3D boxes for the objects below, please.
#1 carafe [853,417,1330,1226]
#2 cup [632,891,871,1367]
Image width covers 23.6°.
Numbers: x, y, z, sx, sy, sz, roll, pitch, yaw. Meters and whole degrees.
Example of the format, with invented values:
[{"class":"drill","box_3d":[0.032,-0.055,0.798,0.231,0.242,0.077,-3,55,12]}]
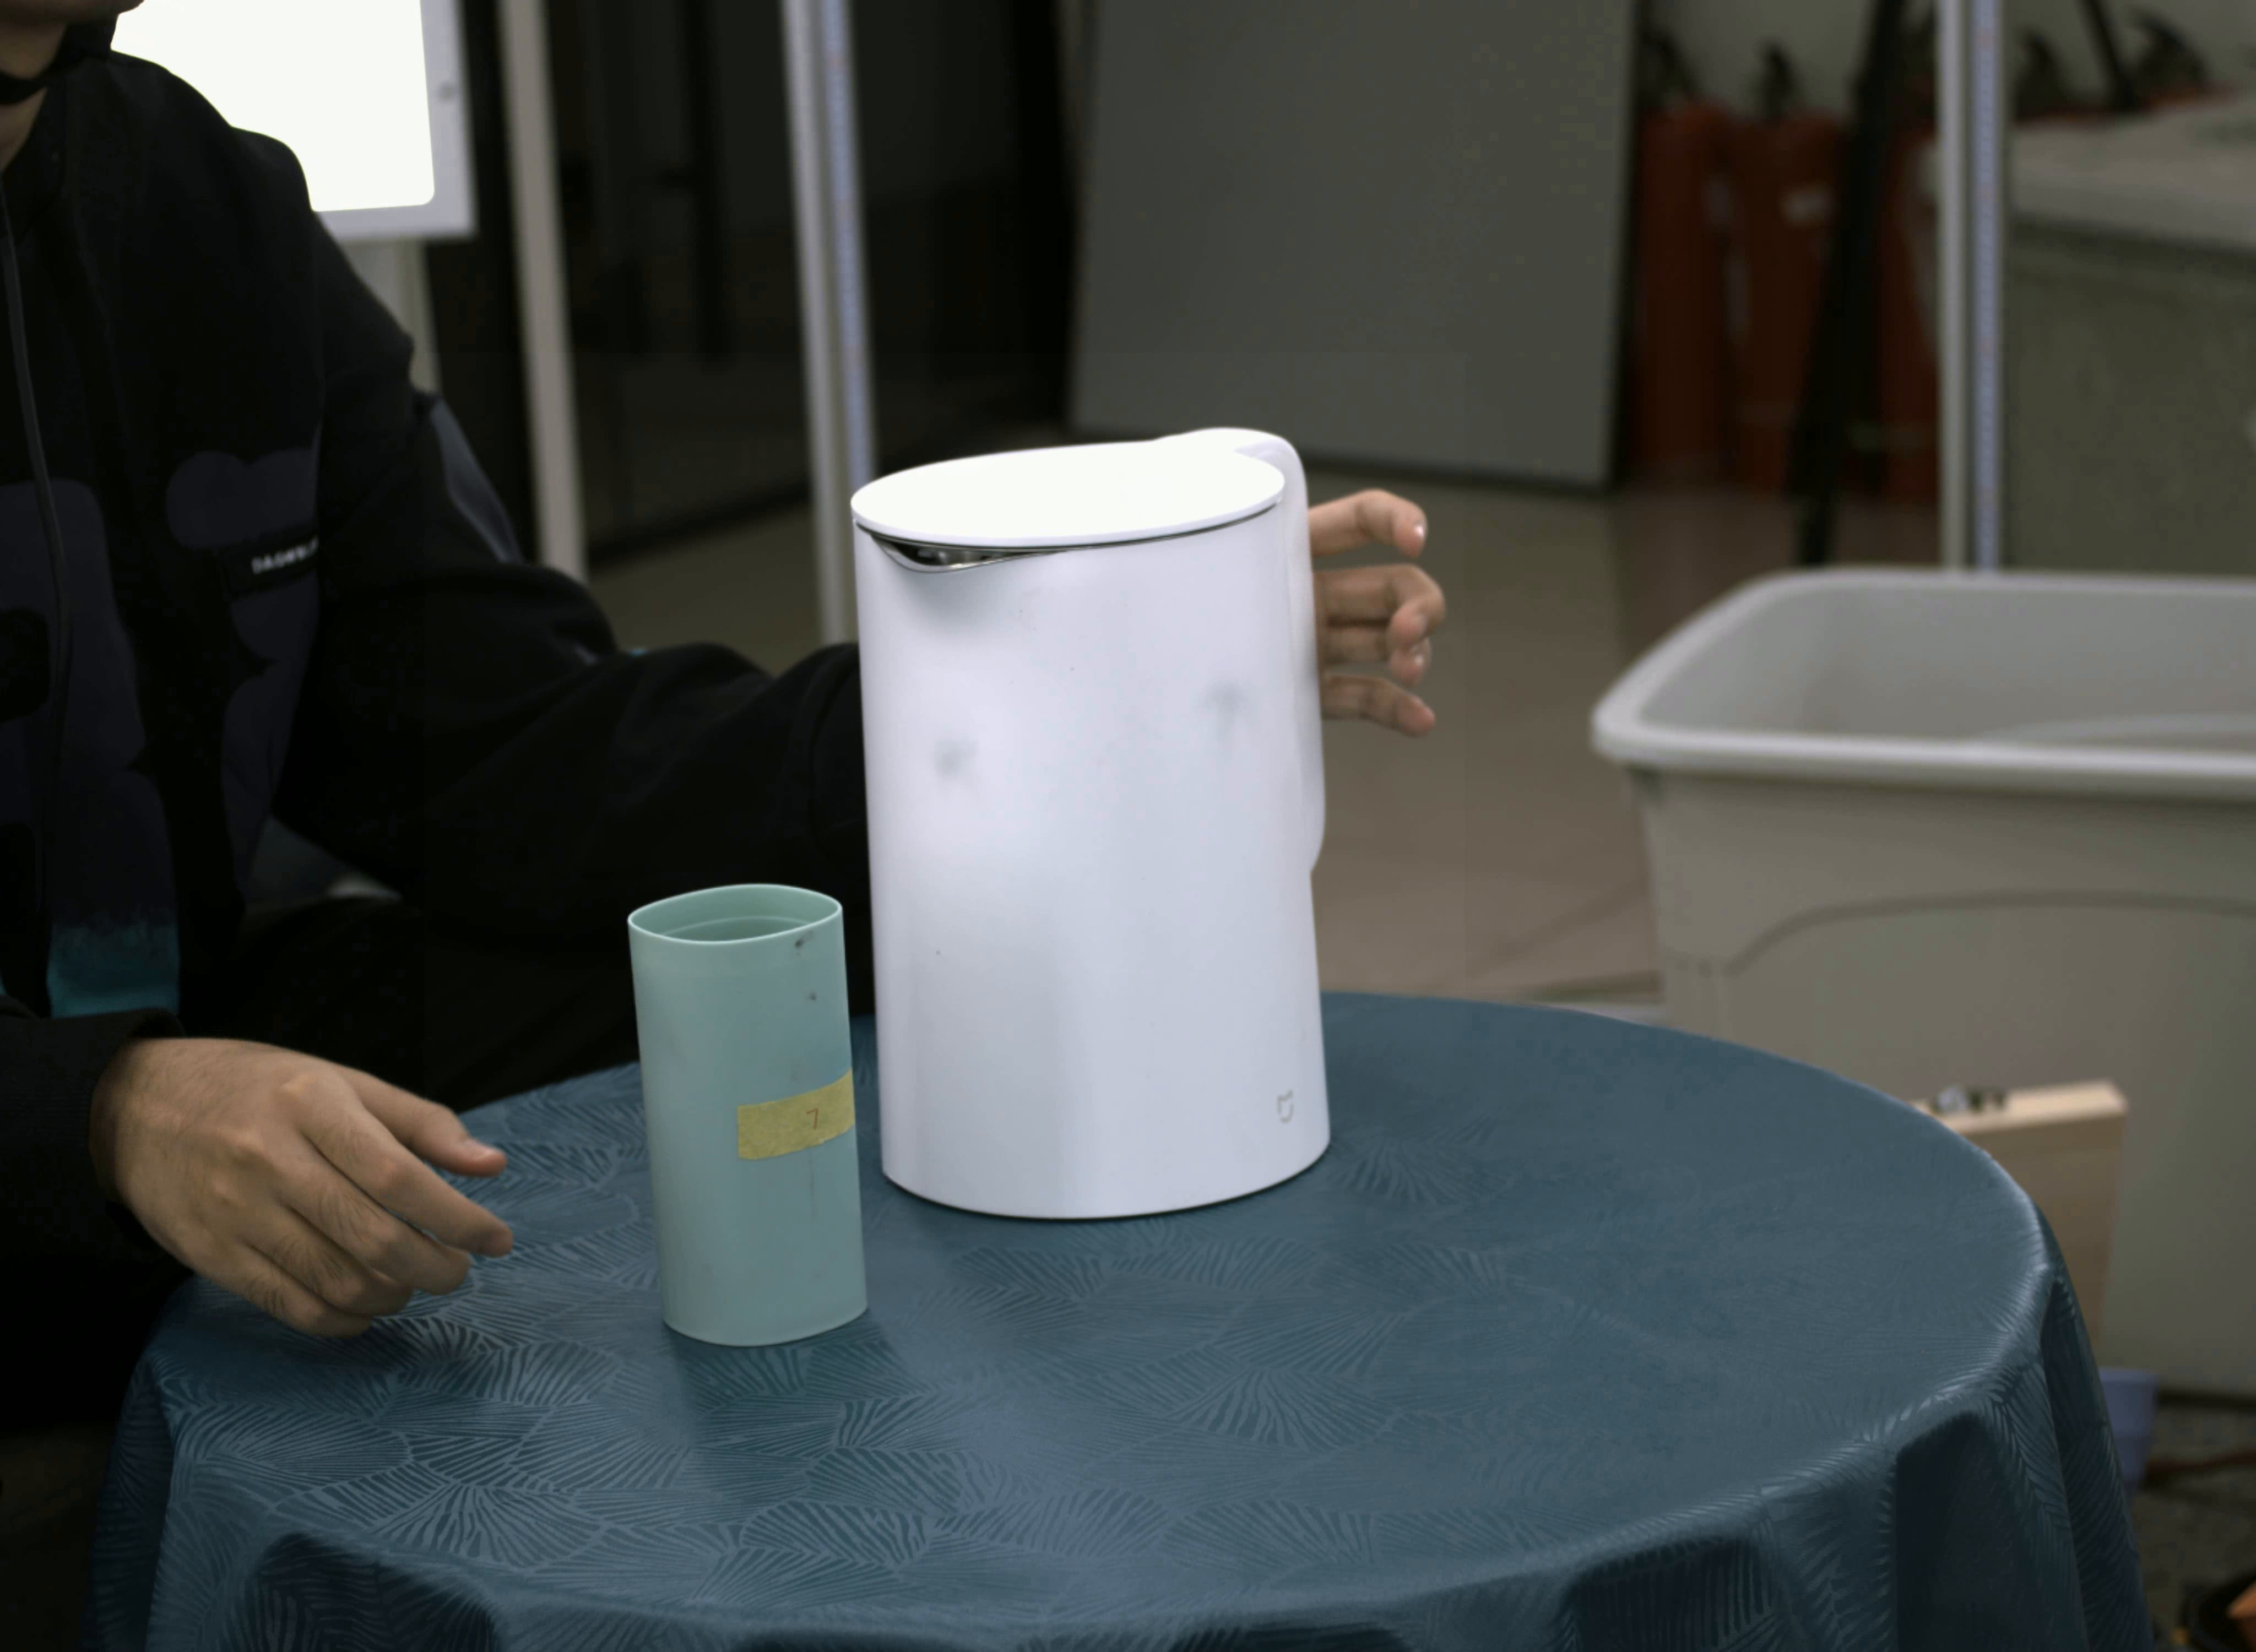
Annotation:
[{"class":"carafe","box_3d":[0.002,-0.008,1.805,0.153,0.243,0.209,7,18,34]},{"class":"cup","box_3d":[-0.116,0.092,1.663,0.066,0.134,0.067,-4,14,0]}]
